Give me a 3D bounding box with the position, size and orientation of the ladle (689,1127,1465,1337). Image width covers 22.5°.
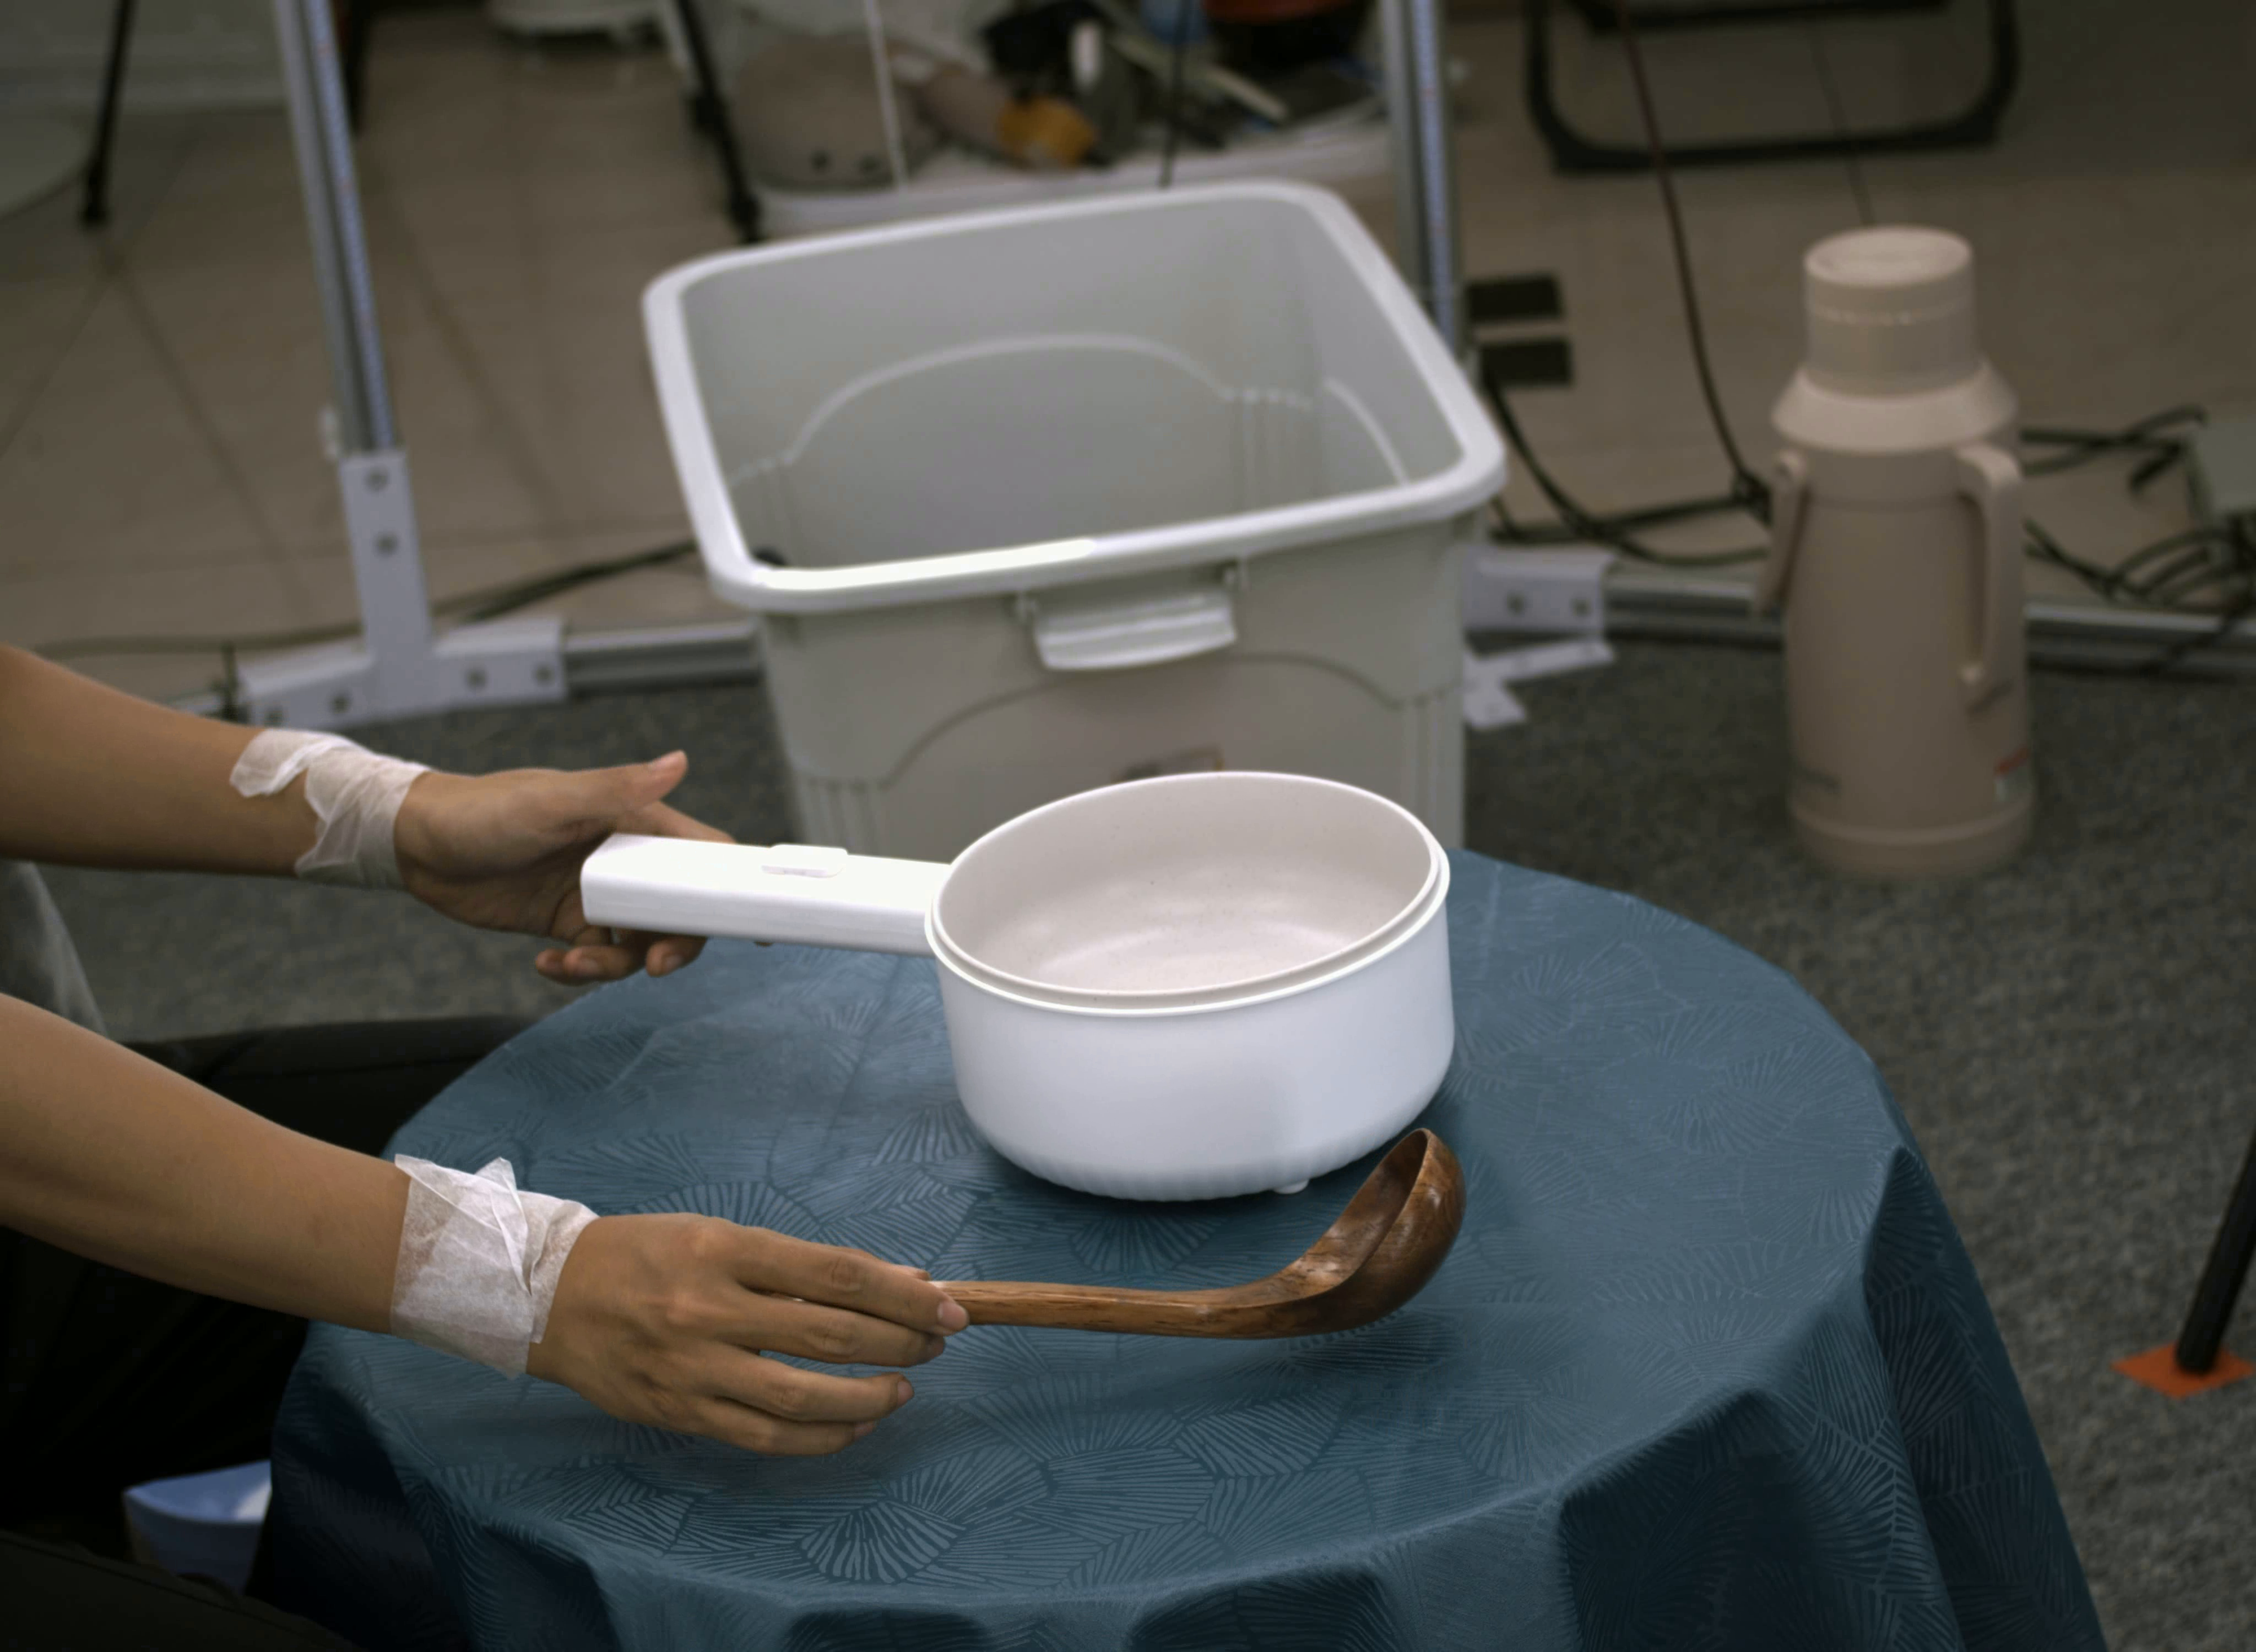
[{"bbox_3d":[-0.018,0.142,2.004,0.273,0.077,0.081,1,5,-2],"label":"ladle"}]

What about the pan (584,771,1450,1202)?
[{"bbox_3d":[-0.045,0.060,2.212,0.354,0.104,0.198,4,28,23],"label":"pan"}]
